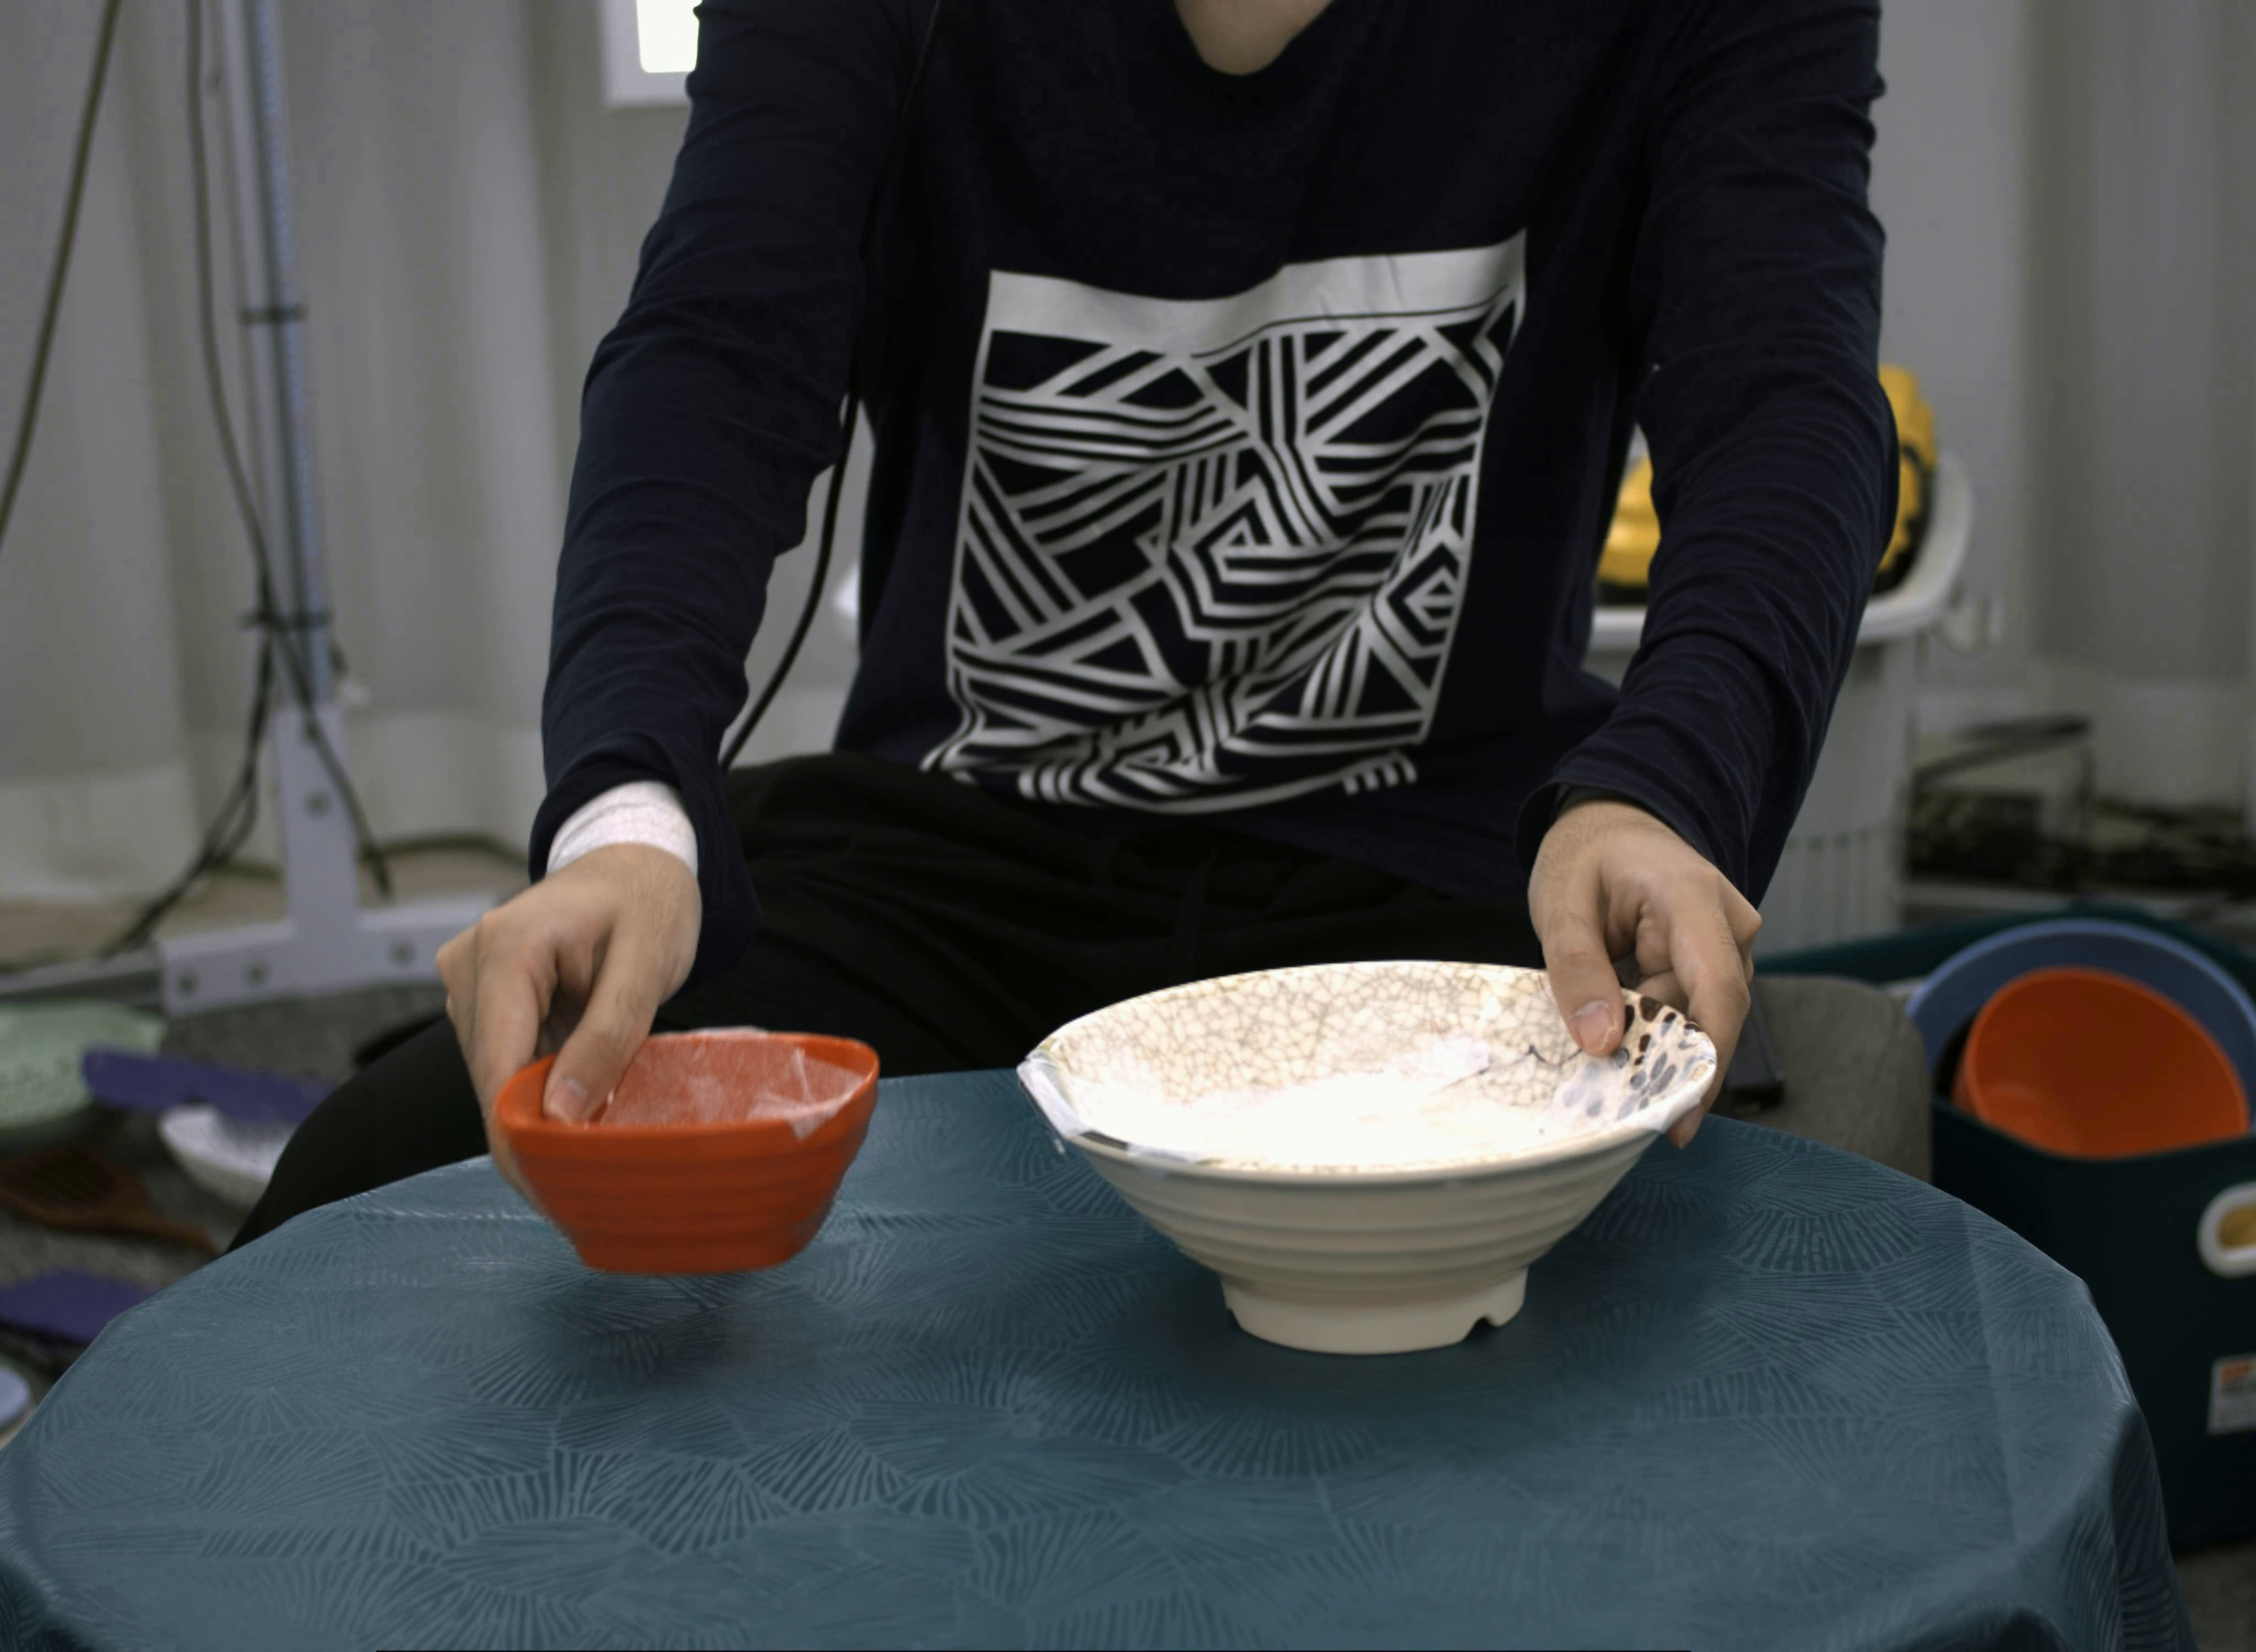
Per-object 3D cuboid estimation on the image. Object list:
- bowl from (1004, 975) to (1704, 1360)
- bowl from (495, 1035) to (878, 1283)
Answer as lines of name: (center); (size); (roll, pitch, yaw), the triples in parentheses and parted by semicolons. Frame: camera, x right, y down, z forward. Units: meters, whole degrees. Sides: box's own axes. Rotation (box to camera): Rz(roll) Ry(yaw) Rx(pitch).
bowl: (0.065, 0.106, 1.594); (0.203, 0.078, 0.205); (0, 12, 0)
bowl: (-0.126, 0.099, 1.593); (0.118, 0.051, 0.119); (-5, 12, 1)
